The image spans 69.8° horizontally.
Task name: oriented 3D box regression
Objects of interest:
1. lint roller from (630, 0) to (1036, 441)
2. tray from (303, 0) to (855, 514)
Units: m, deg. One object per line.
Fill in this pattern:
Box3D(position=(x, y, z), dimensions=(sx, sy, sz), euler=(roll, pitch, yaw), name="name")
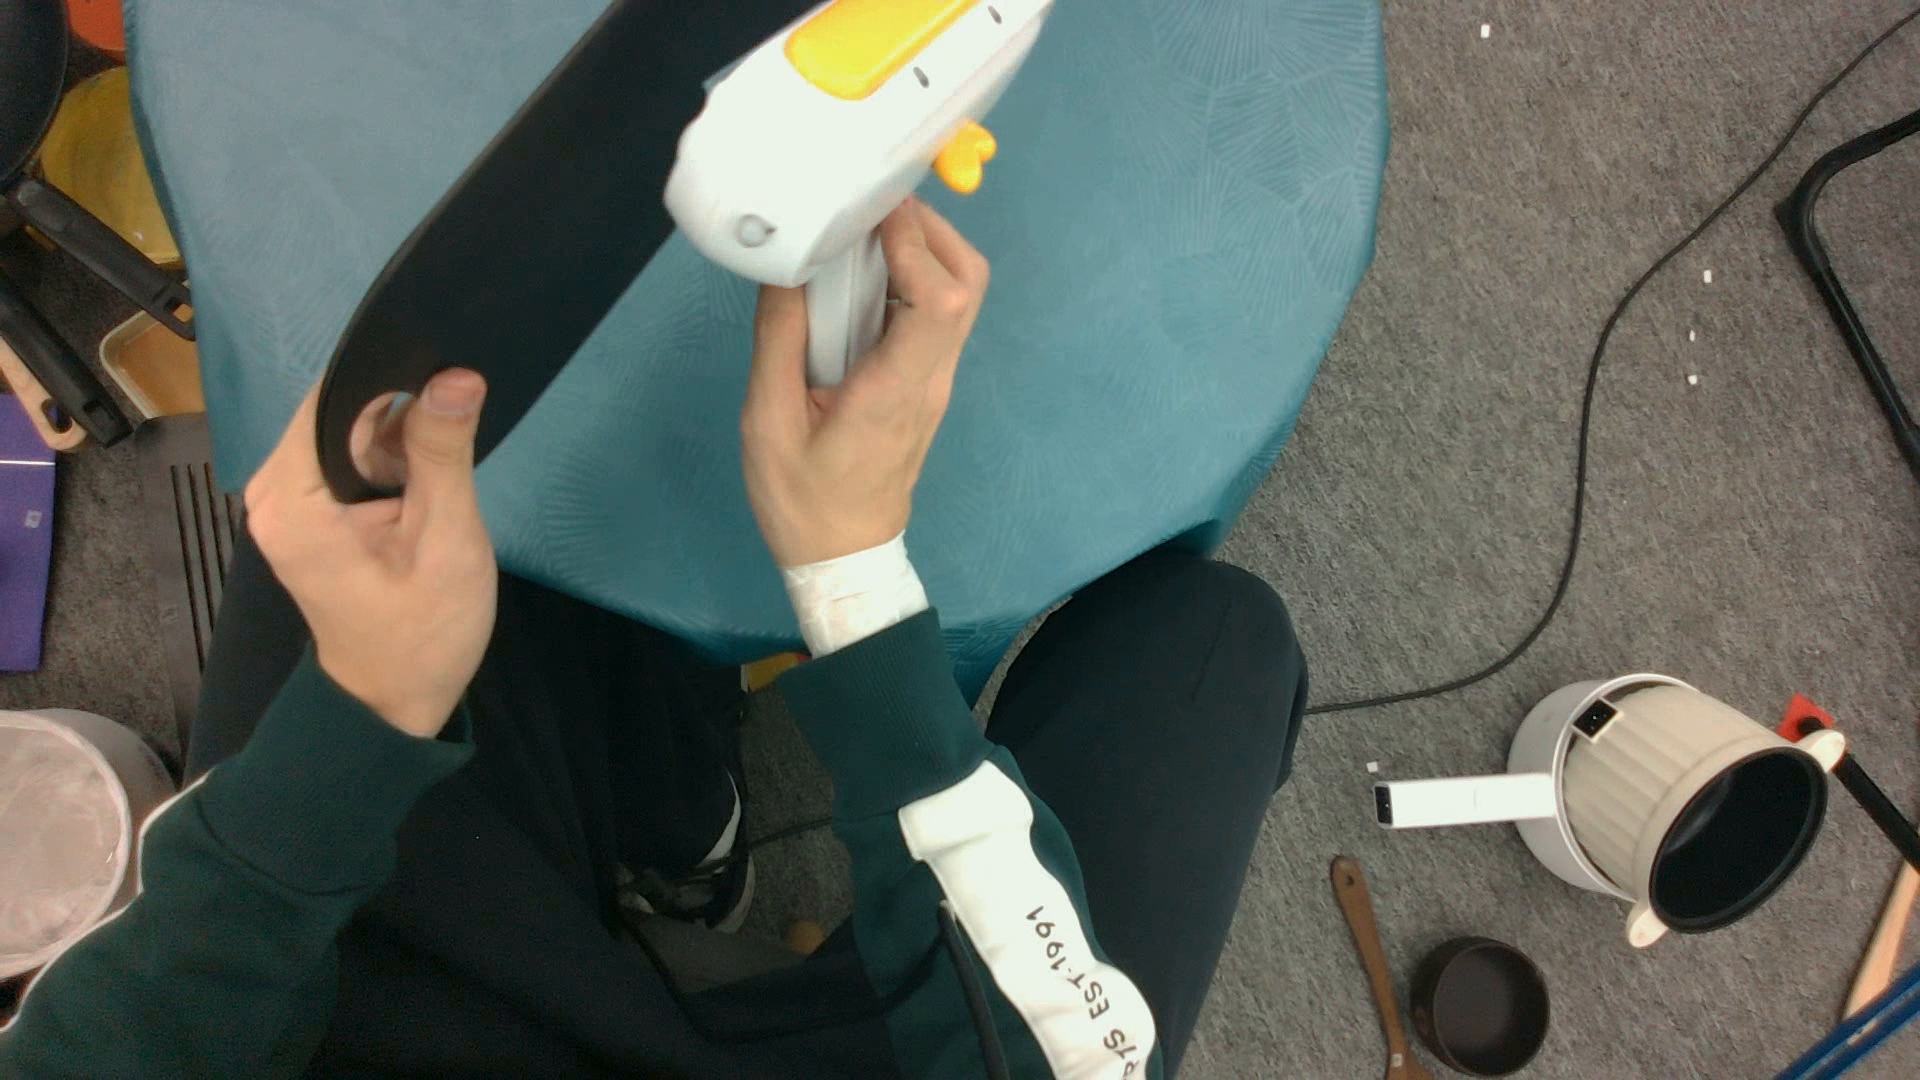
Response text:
Box3D(position=(-0.046, -0.112, 0.490), dimensions=(0.074, 0.191, 0.194), euler=(29, 50, -1), name="lint roller")
Box3D(position=(-0.106, -0.142, 0.471), dimensions=(0.010, 0.210, 0.326), euler=(37, 78, -4), name="tray")
